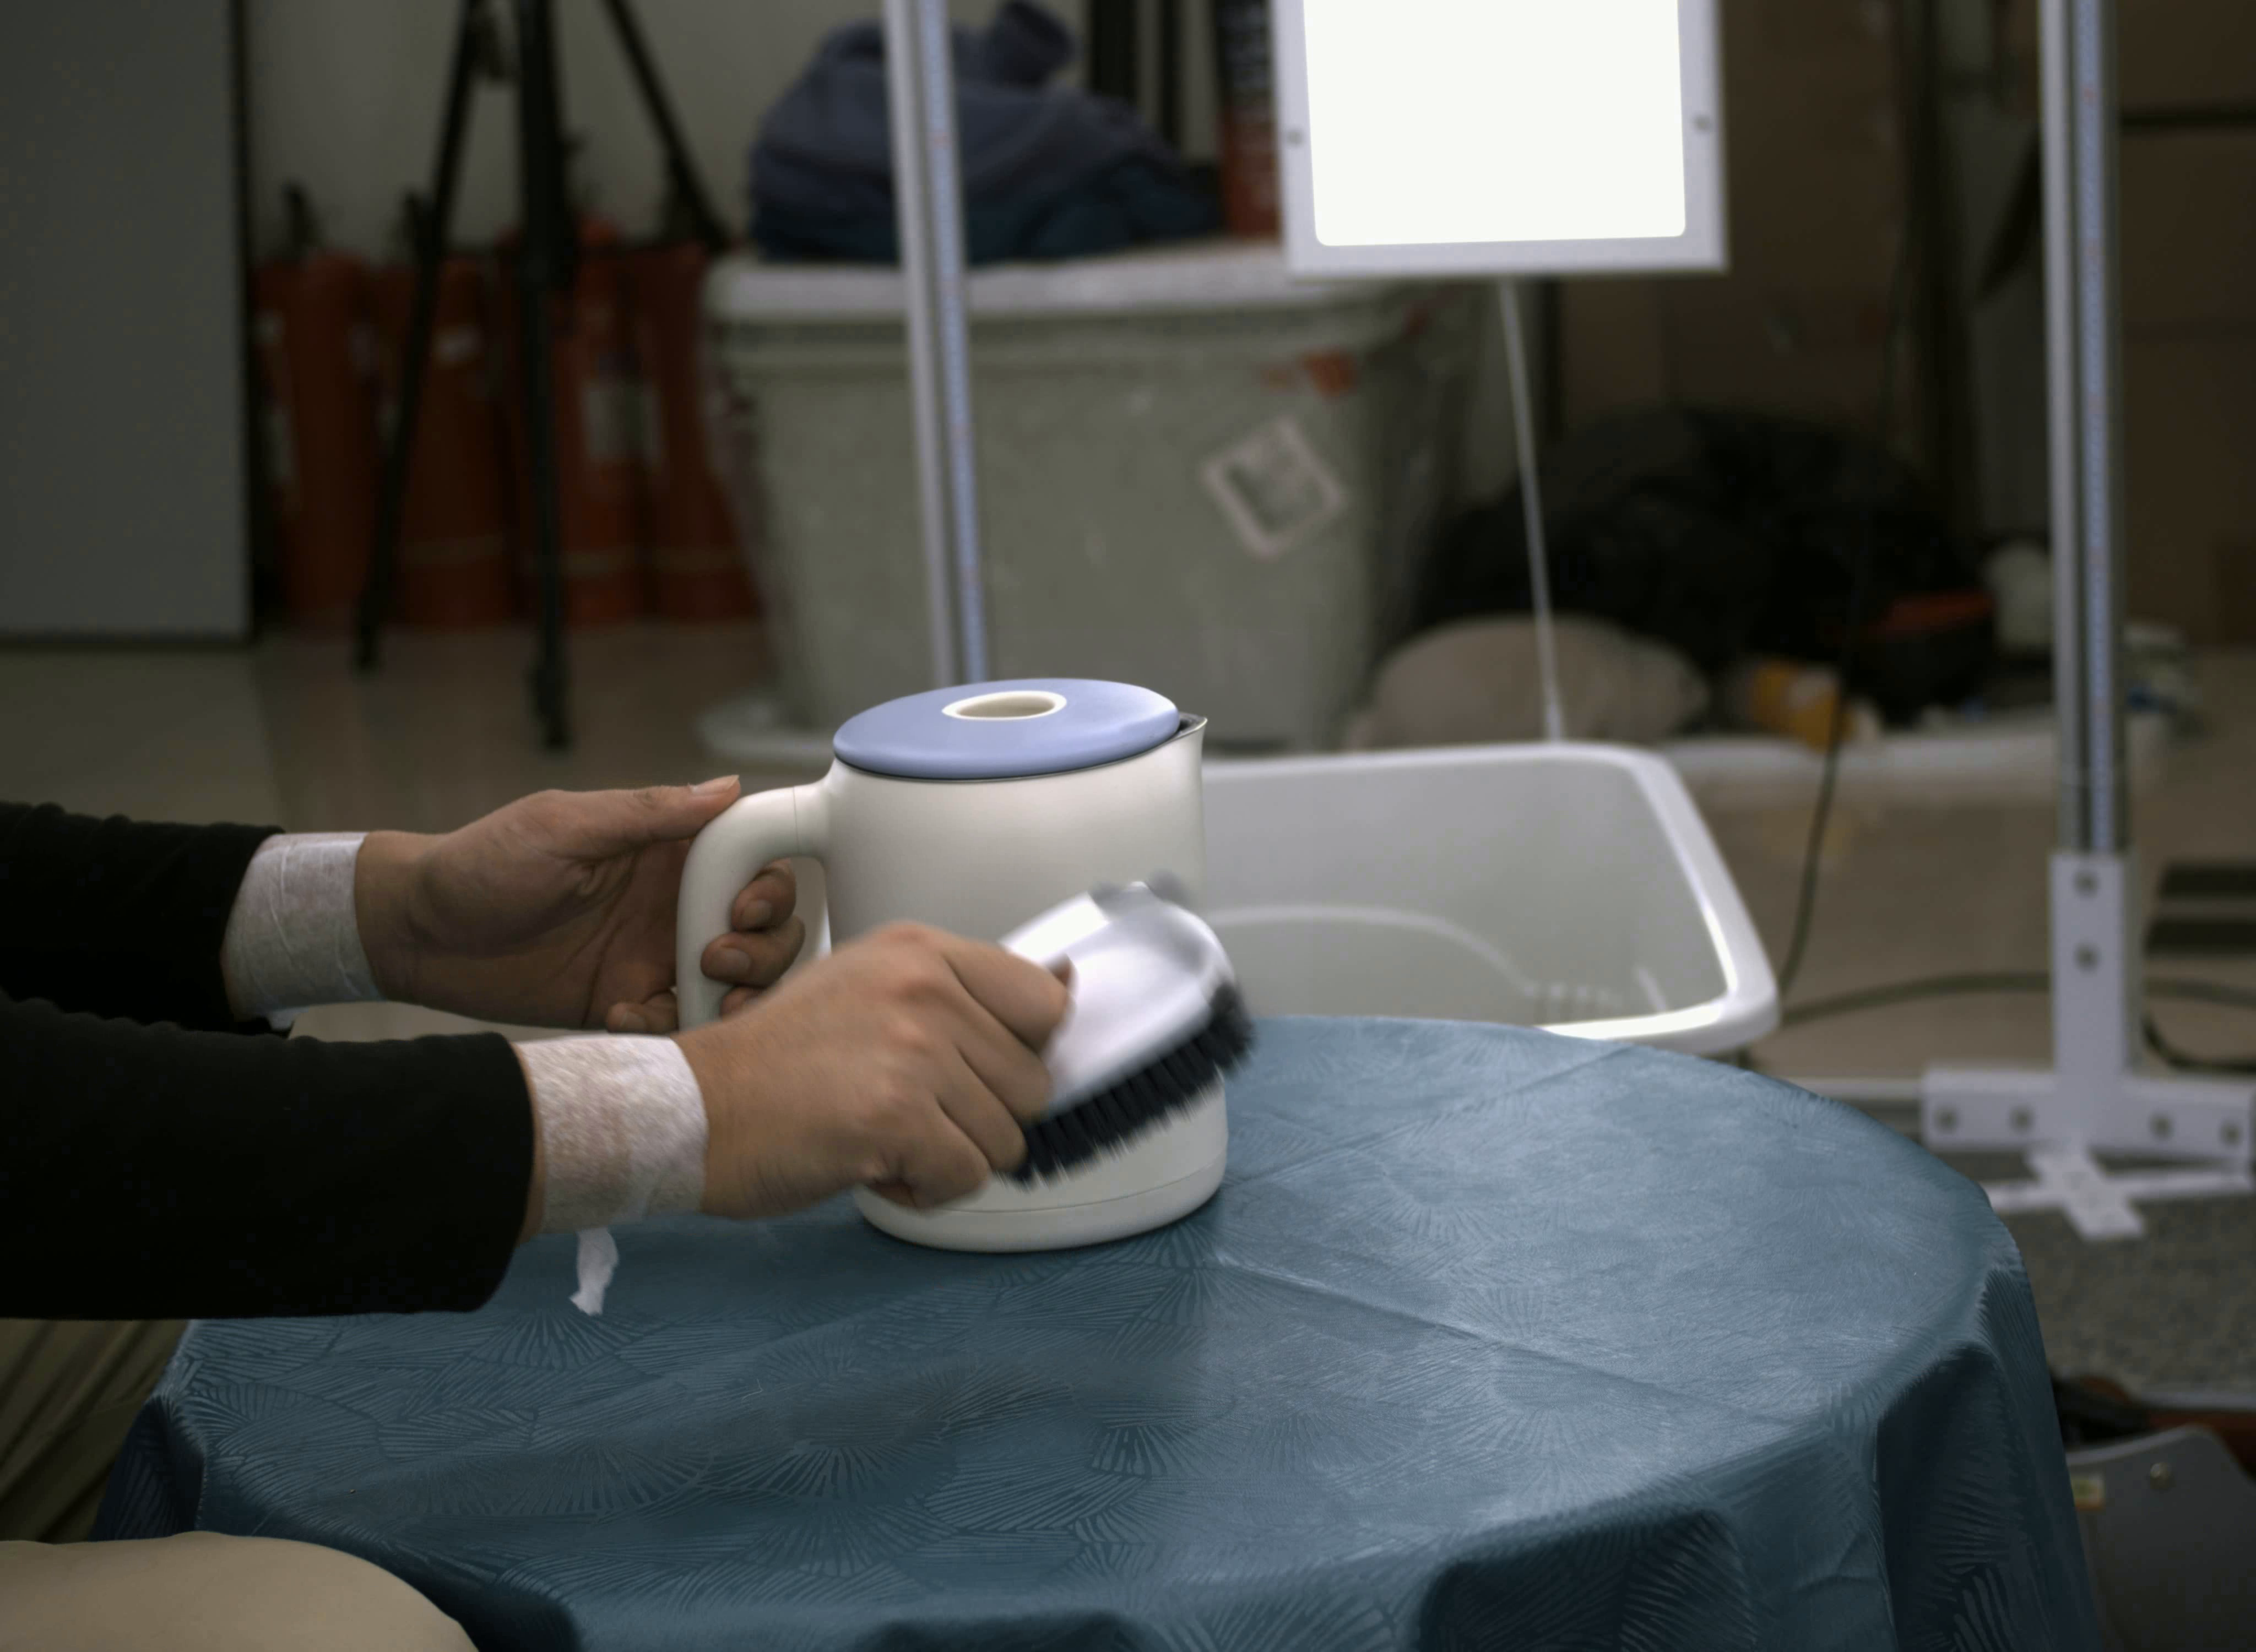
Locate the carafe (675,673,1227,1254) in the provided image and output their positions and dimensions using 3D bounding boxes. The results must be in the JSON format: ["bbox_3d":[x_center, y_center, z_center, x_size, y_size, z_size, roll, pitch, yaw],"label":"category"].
[{"bbox_3d":[-0.060,0.049,1.878,0.190,0.183,0.132,-7,14,-3],"label":"carafe"}]

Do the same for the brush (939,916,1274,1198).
[{"bbox_3d":[-0.011,0.065,1.695,0.099,0.072,0.050,-26,43,2],"label":"brush"}]
